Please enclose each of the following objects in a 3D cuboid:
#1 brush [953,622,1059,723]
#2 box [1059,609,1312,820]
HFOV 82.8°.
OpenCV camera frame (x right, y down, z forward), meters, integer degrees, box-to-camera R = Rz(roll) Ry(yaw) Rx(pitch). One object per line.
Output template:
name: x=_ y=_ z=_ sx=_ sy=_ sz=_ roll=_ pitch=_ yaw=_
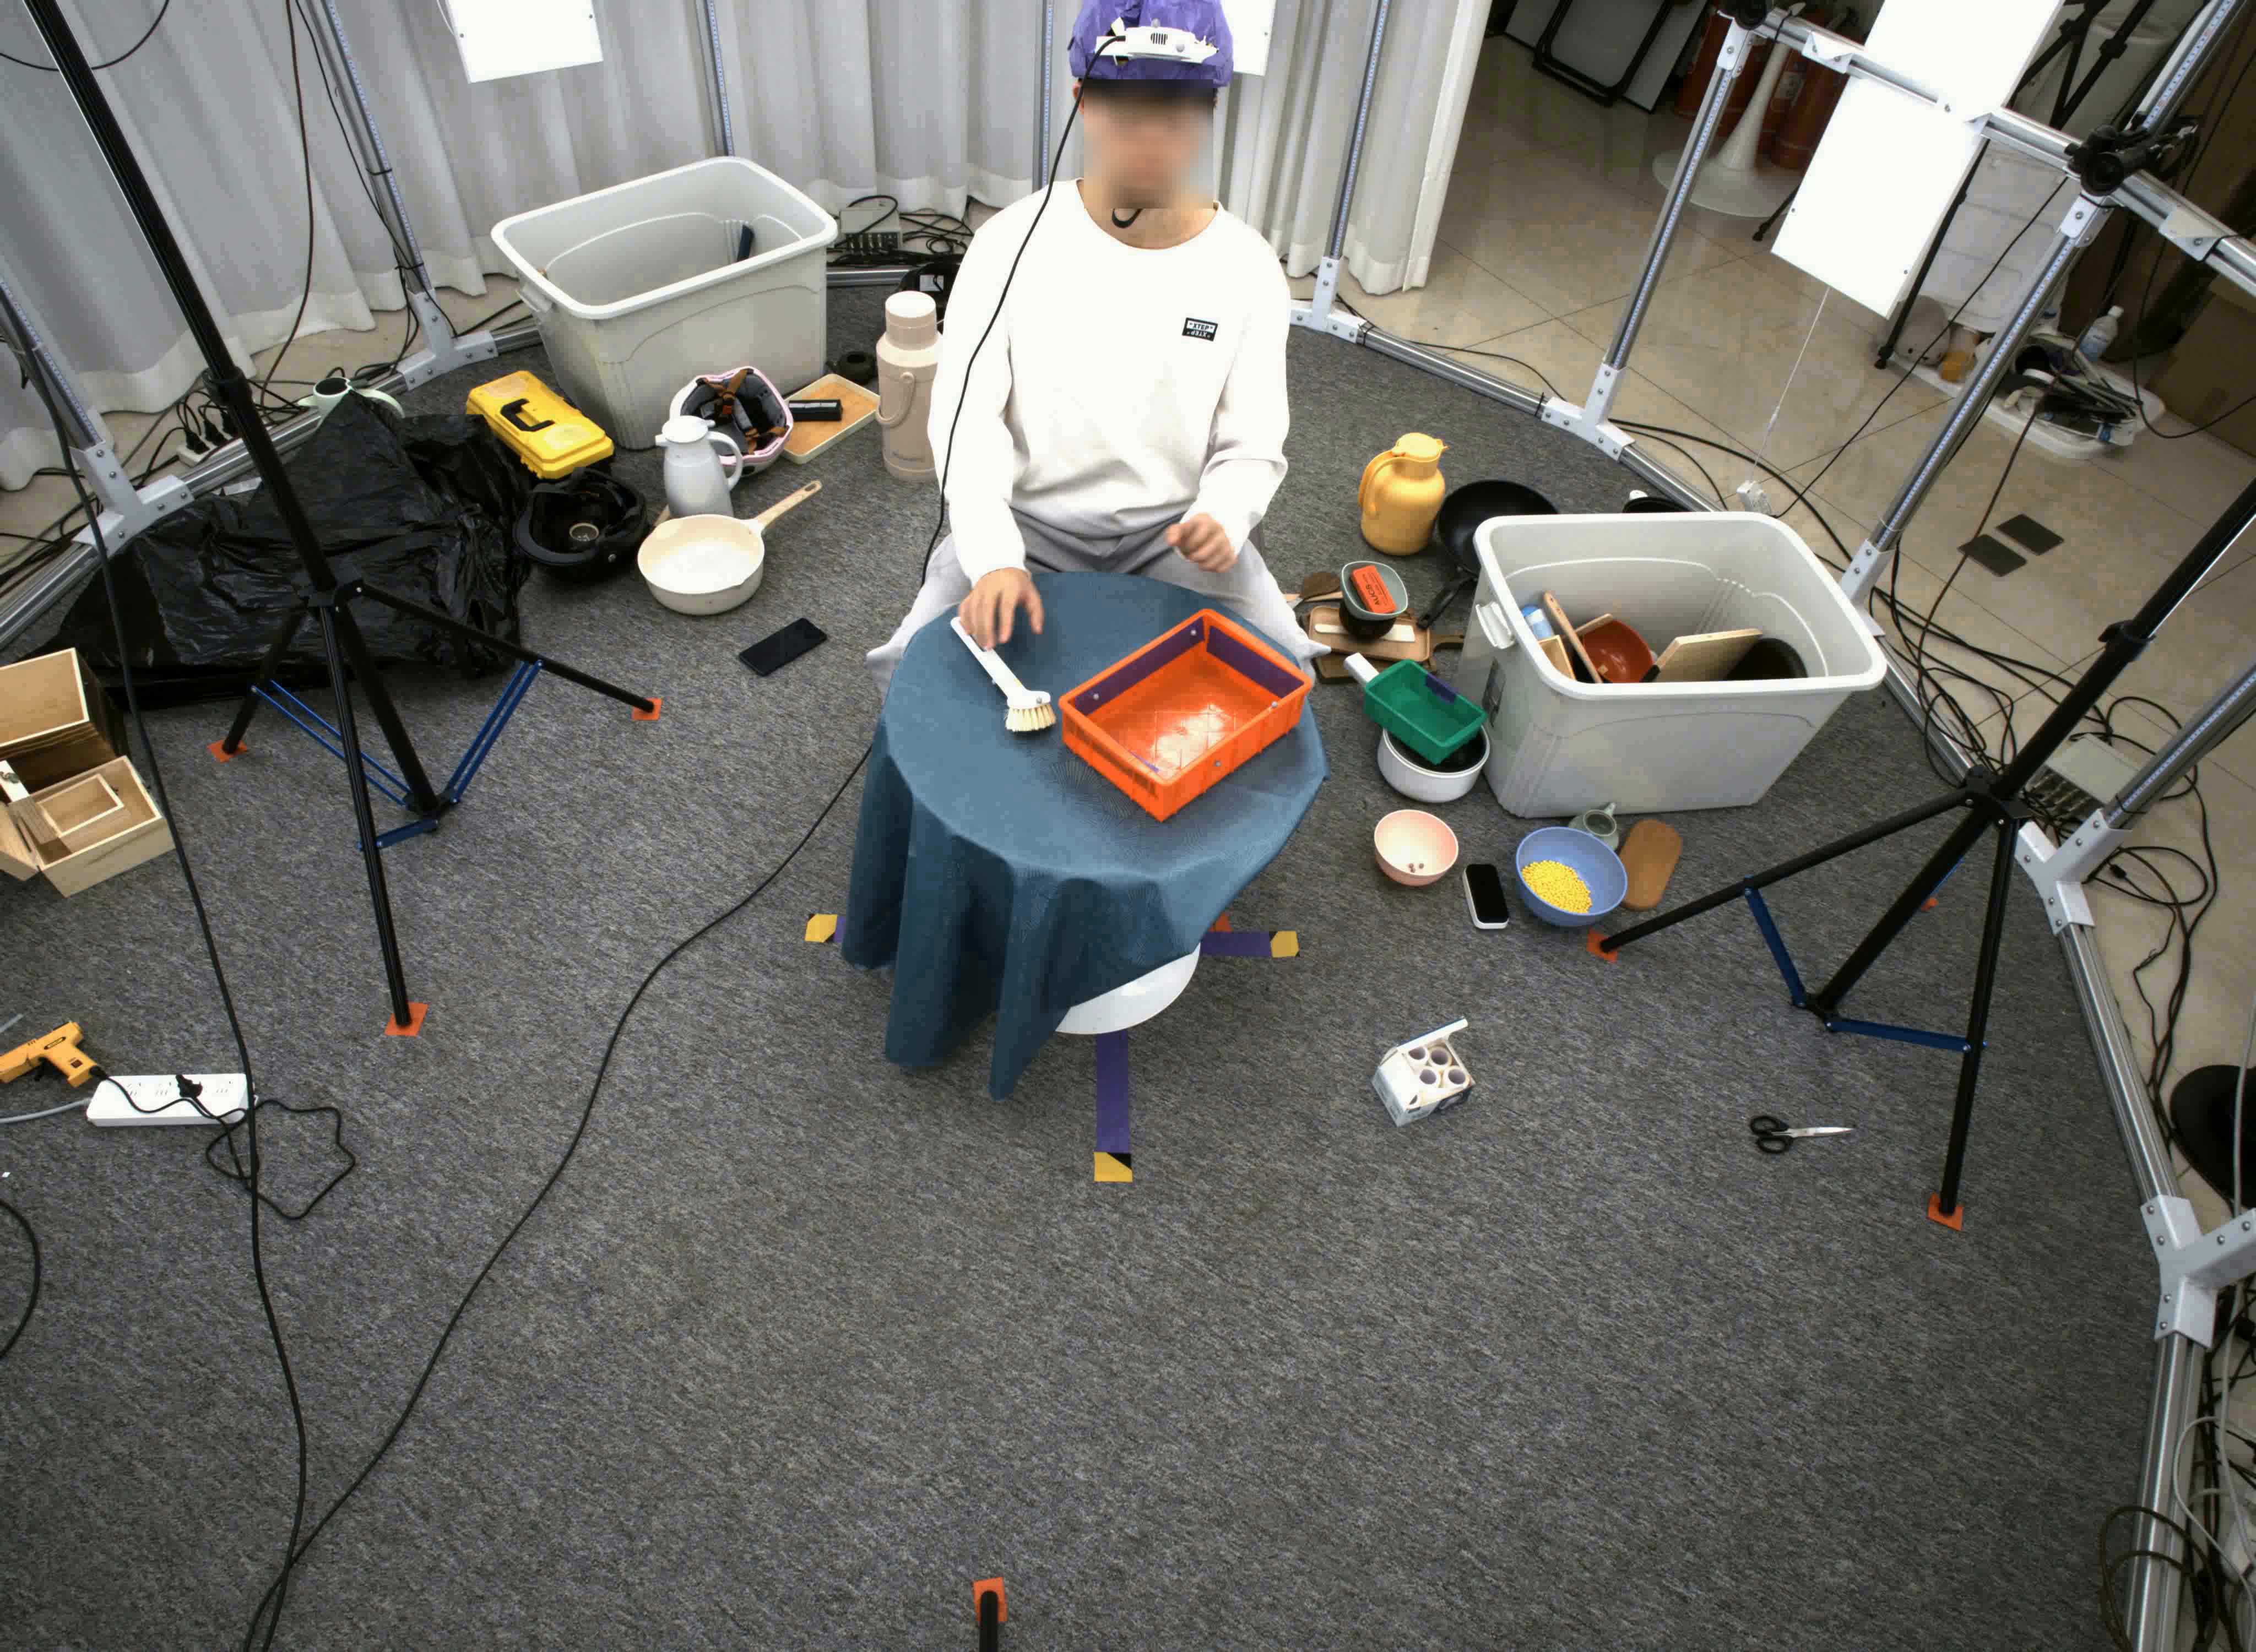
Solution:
brush: x=-0.181 y=-0.216 z=1.828 sx=0.068 sy=0.055 sz=0.272 roll=-10 pitch=35 yaw=-32
box: x=0.076 y=-0.152 z=1.746 sx=0.306 sy=0.094 sz=0.210 roll=-33 pitch=58 yaw=-30
